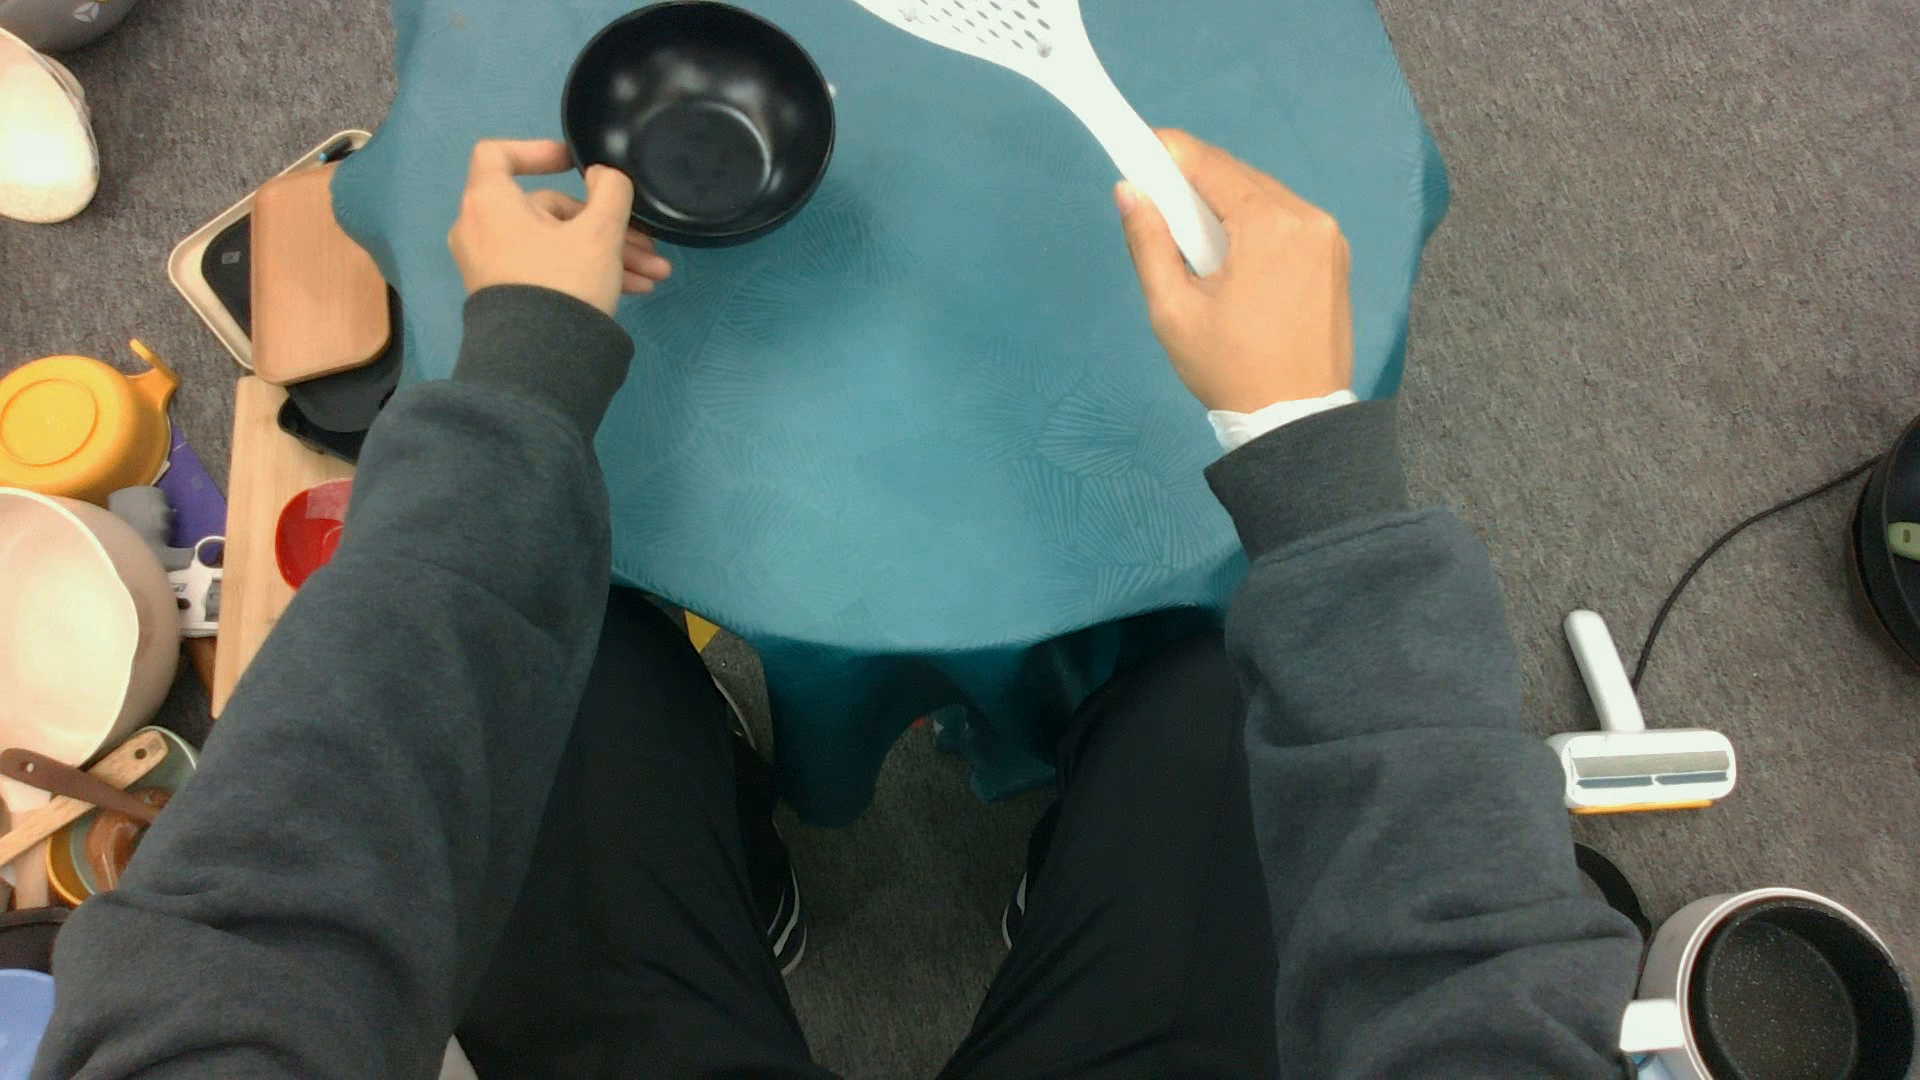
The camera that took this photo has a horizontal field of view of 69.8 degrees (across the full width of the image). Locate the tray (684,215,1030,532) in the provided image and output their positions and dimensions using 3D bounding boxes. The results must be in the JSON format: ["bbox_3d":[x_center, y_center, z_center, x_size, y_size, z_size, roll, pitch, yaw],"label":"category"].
[{"bbox_3d":[-0.100,-0.165,1.344,0.300,0.027,0.192,39,76,7],"label":"tray"}]

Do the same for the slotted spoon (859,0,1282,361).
[{"bbox_3d":[0.037,-0.221,0.627,0.137,0.050,0.348,-37,88,-11],"label":"slotted spoon"}]
